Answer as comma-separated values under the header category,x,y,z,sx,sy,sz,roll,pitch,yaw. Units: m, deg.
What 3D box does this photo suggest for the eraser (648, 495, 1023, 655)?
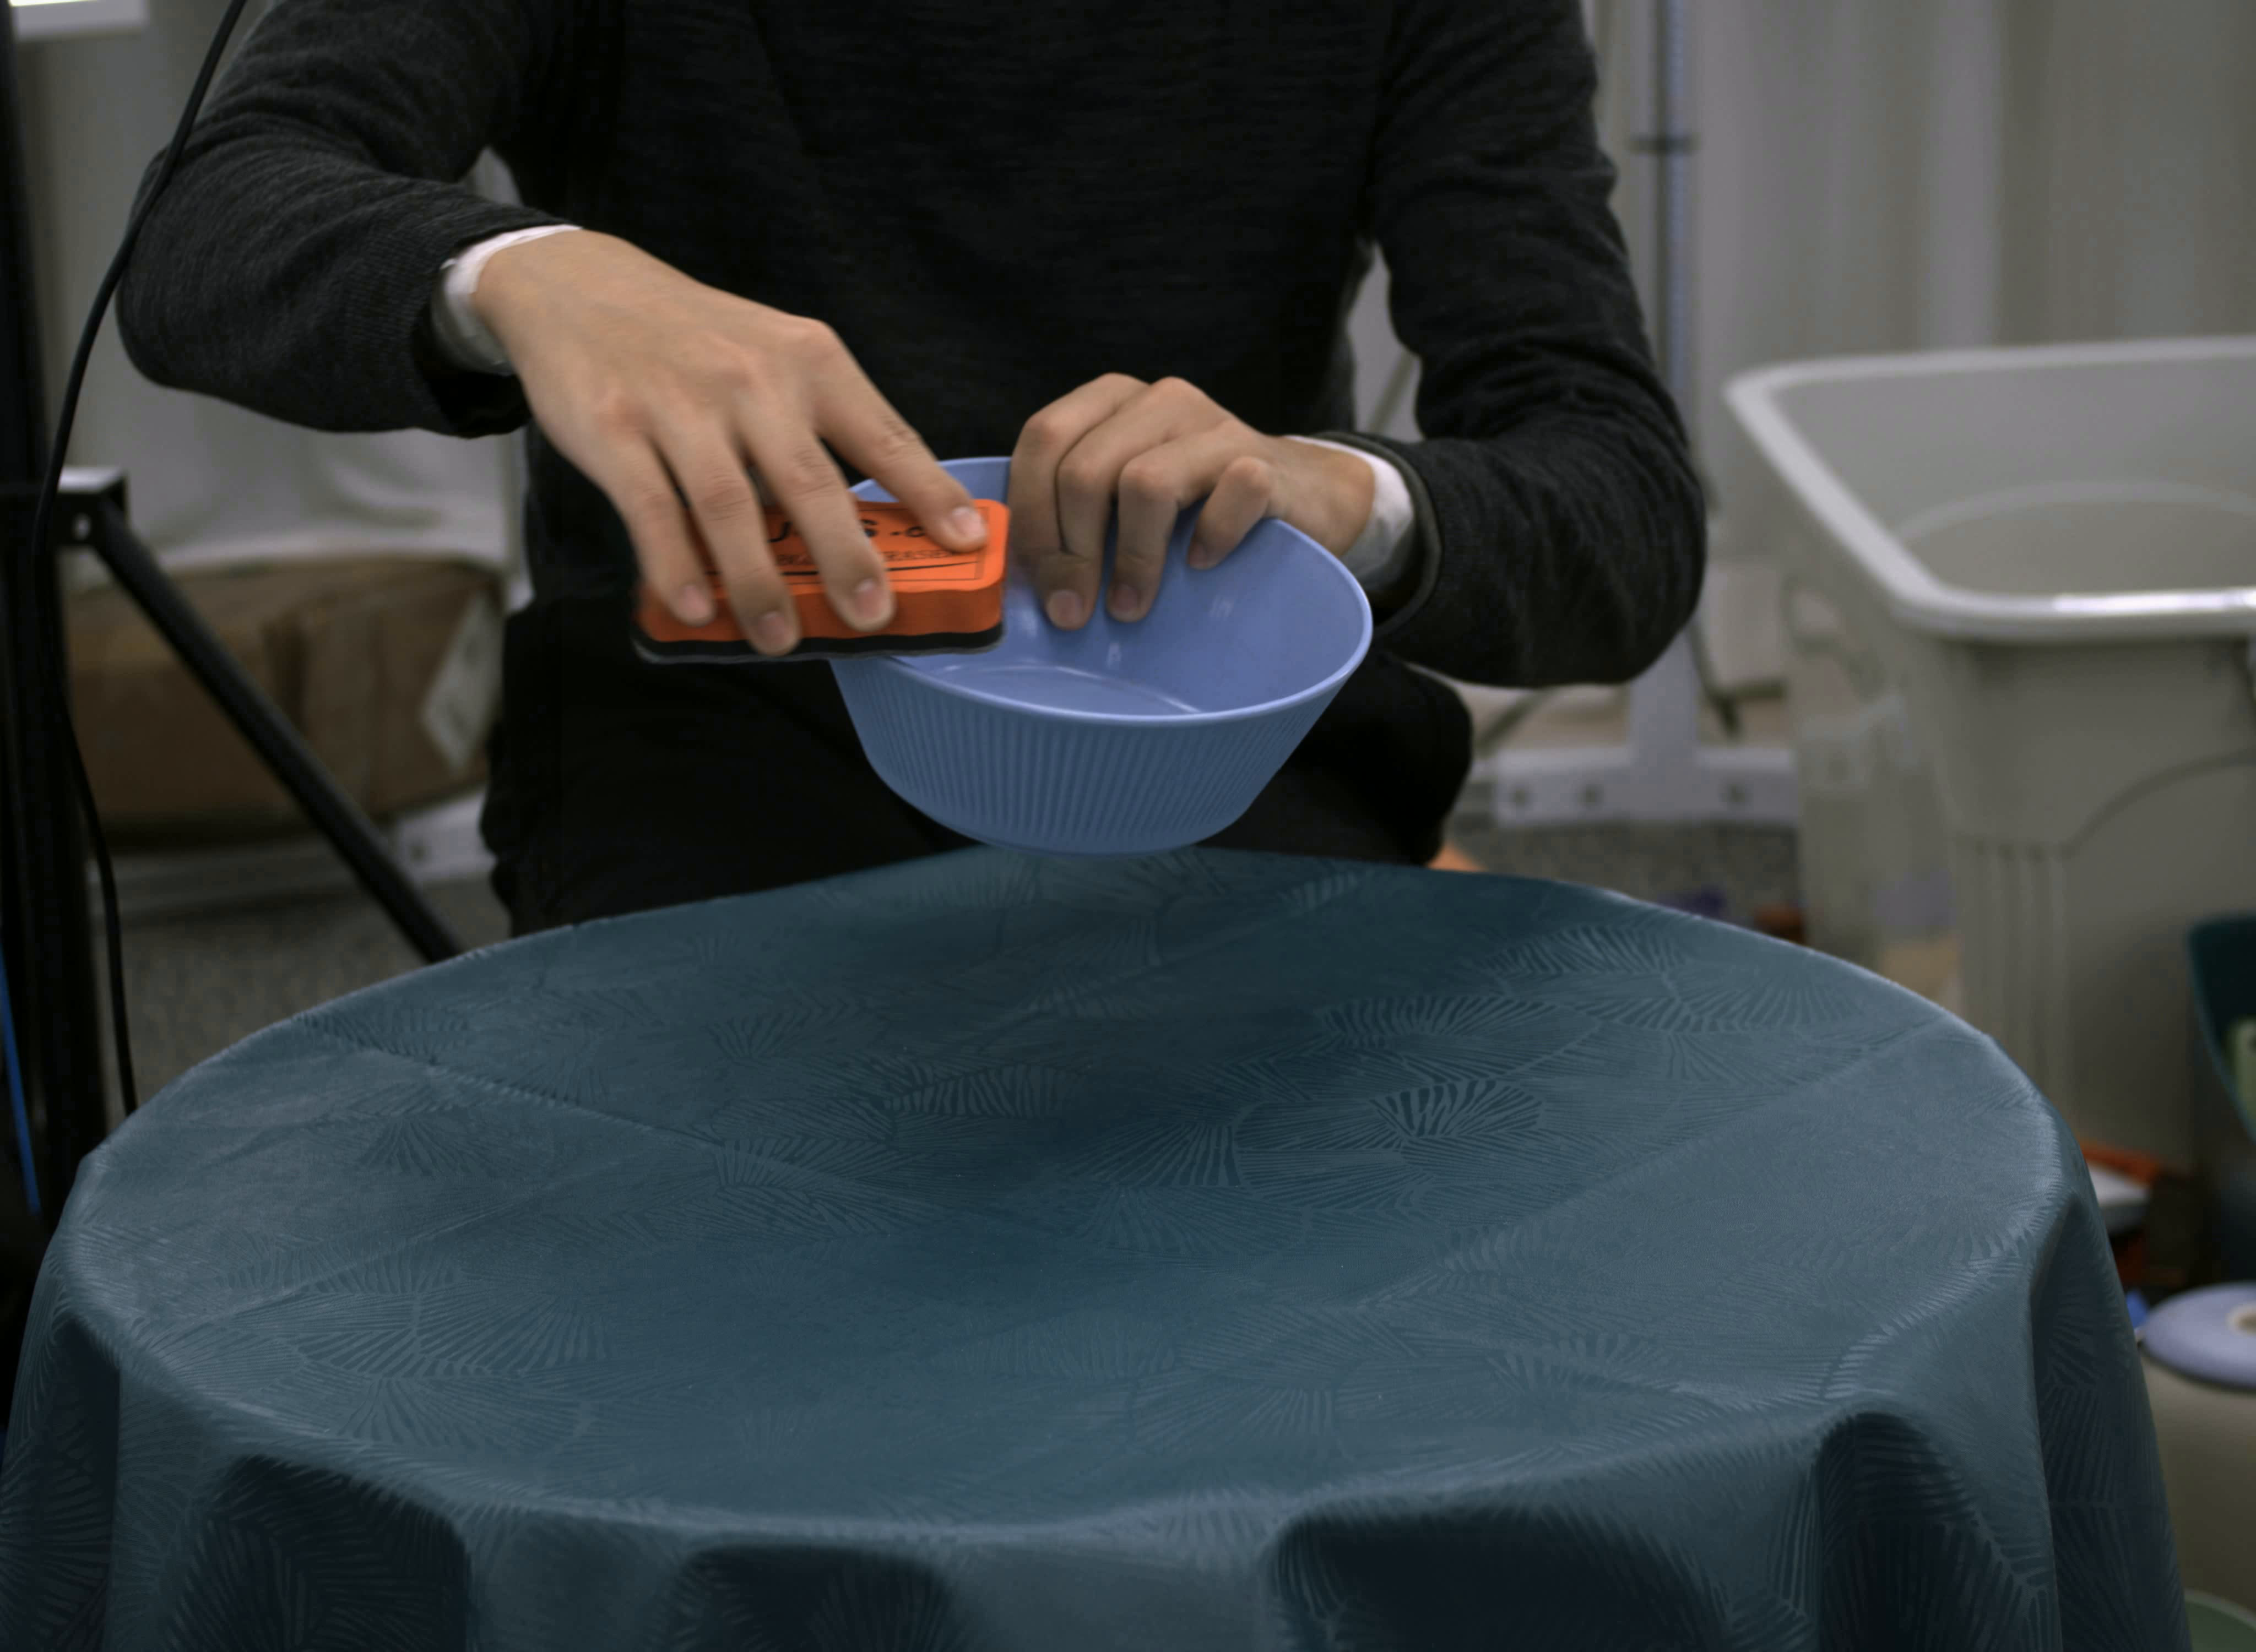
category,x,y,z,sx,sy,sz,roll,pitch,yaw
eraser,-0.085,-0.074,1.571,0.108,0.023,0.059,-2,32,5

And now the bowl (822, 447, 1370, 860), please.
category,x,y,z,sx,sy,sz,roll,pitch,yaw
bowl,-0.017,-0.047,1.629,0.174,0.070,0.177,6,29,-5
